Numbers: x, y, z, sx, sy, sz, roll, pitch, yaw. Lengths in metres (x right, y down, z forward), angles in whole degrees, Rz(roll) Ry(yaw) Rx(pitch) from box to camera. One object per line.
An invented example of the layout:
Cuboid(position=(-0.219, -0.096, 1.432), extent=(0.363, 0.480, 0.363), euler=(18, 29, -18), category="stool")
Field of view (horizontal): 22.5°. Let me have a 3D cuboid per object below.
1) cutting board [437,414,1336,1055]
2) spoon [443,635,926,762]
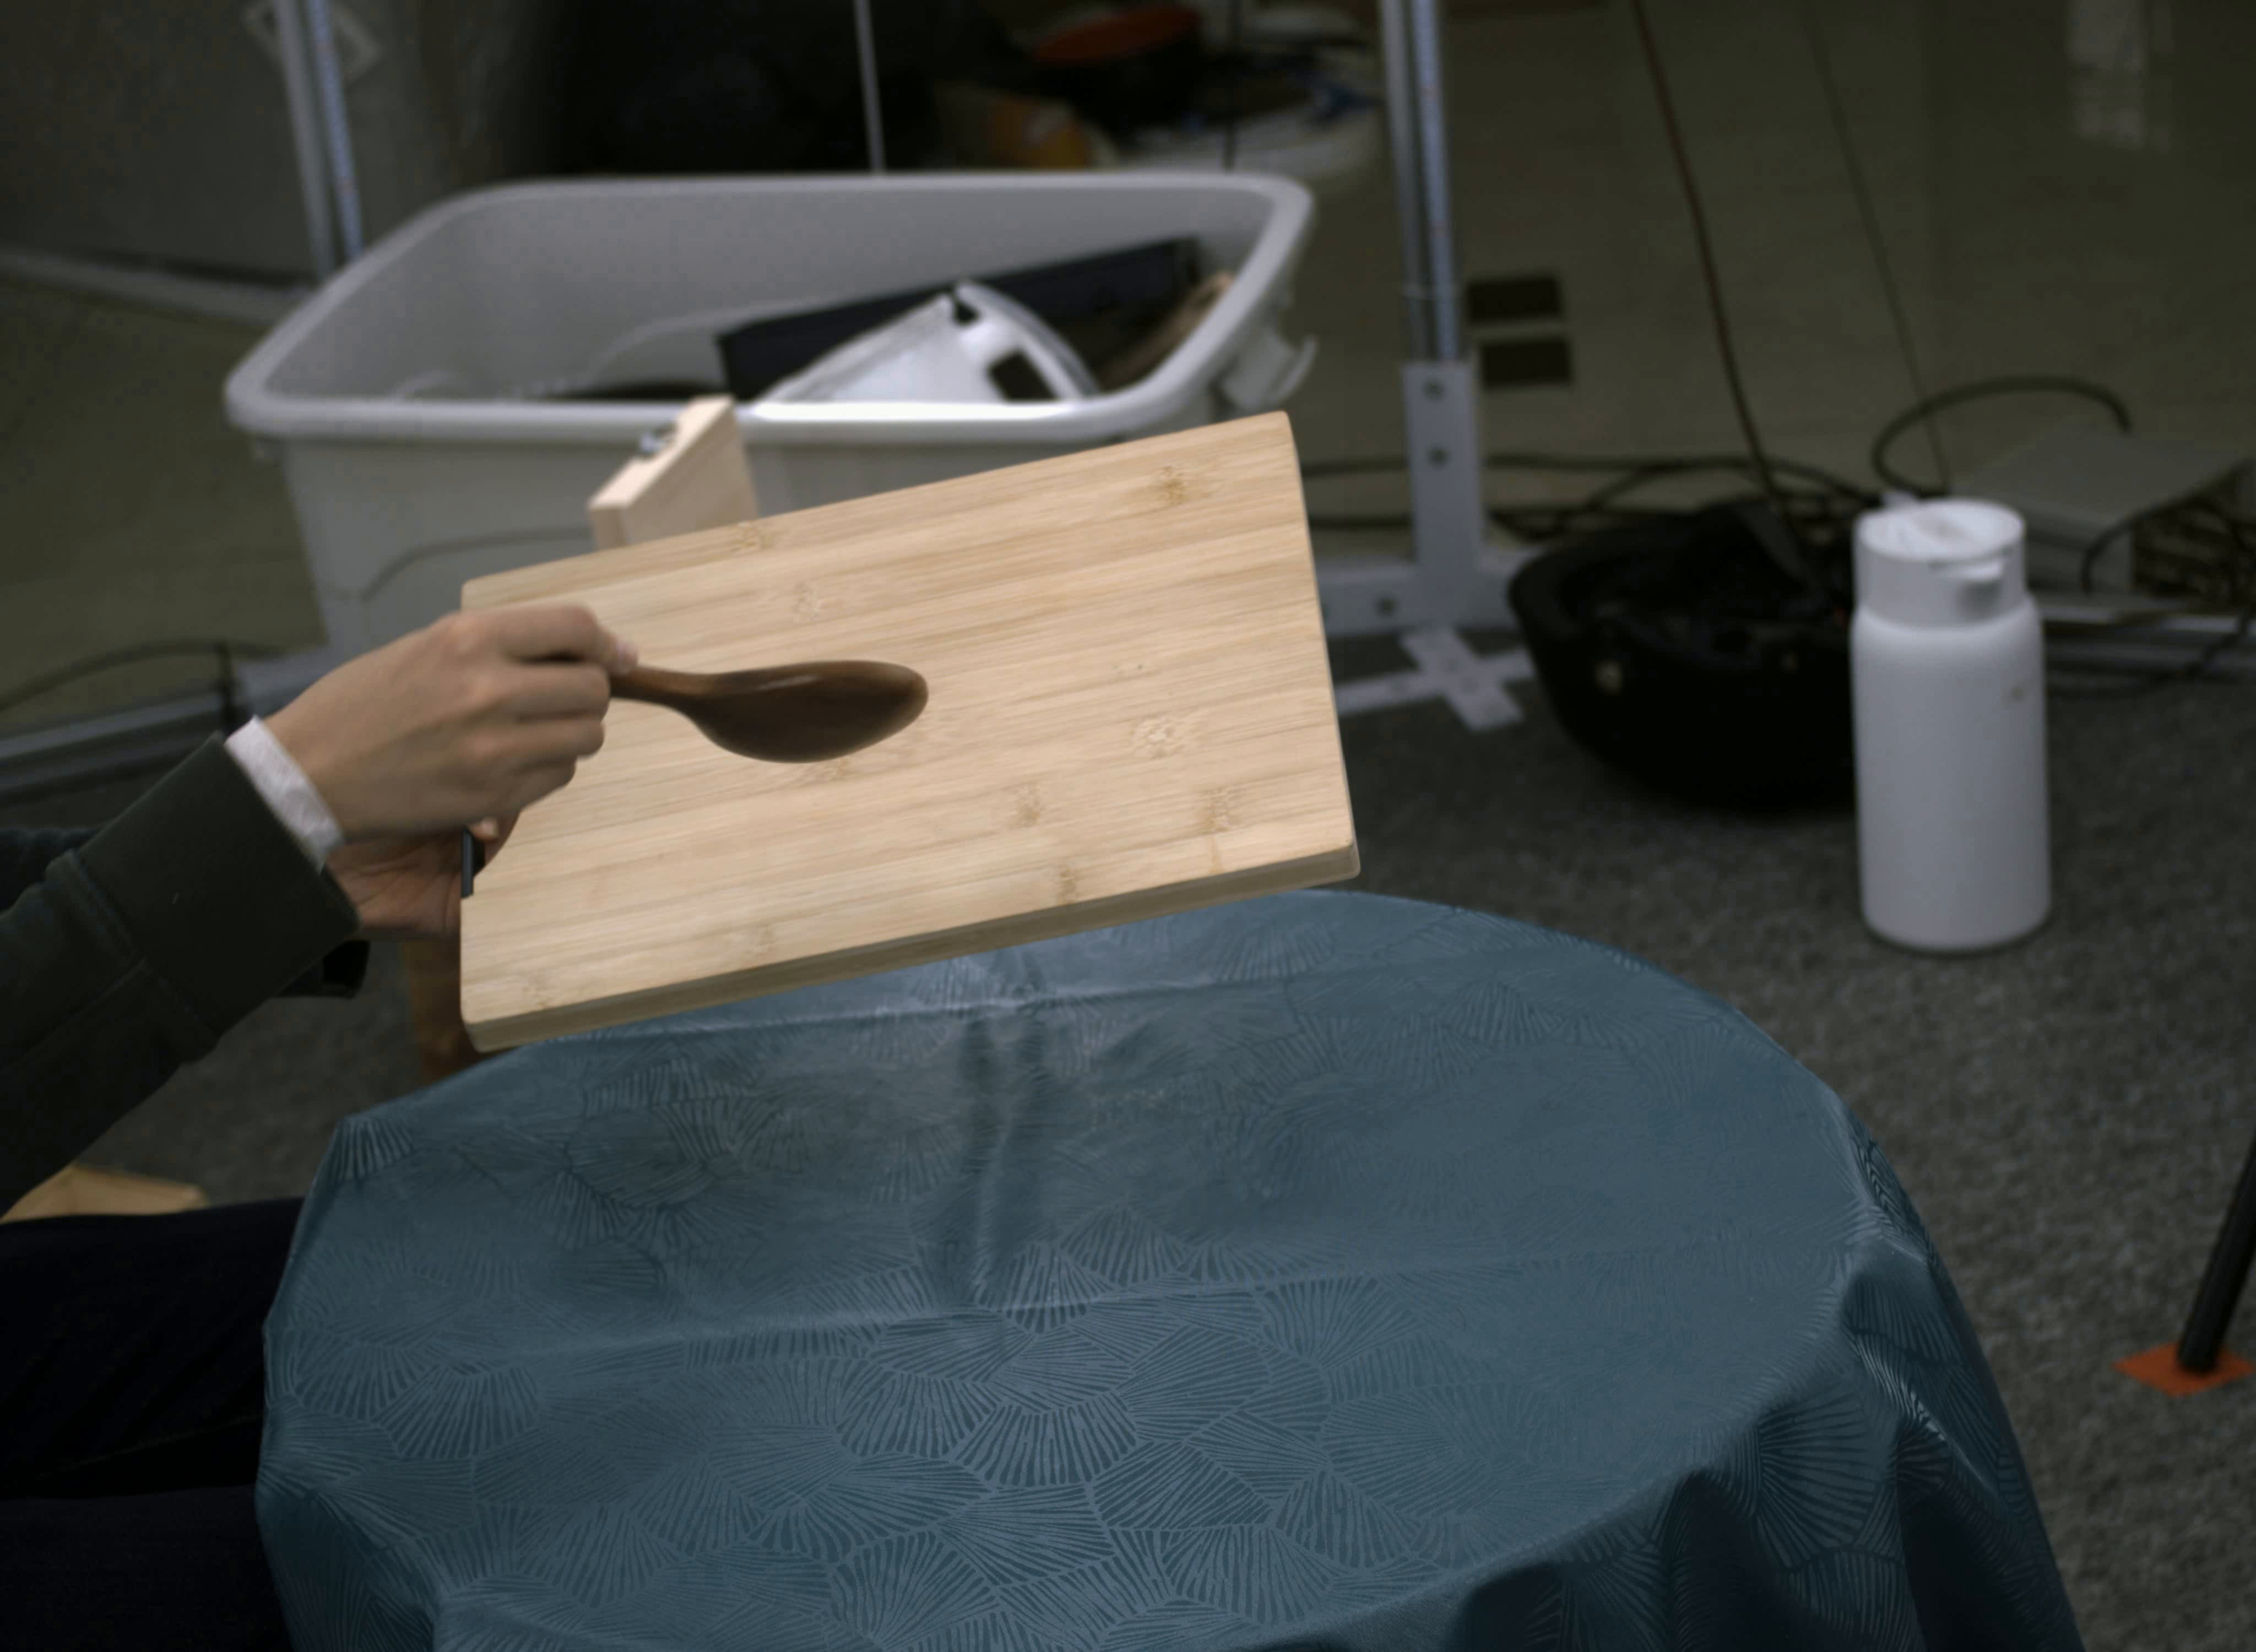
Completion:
Cuboid(position=(-0.097, -0.038, 2.177), extent=(0.348, 0.024, 0.246), euler=(-12, 46, 5), category="cutting board")
Cuboid(position=(-0.153, -0.043, 1.954), extent=(0.076, 0.017, 0.216), euler=(-19, -18, 37), category="spoon")
